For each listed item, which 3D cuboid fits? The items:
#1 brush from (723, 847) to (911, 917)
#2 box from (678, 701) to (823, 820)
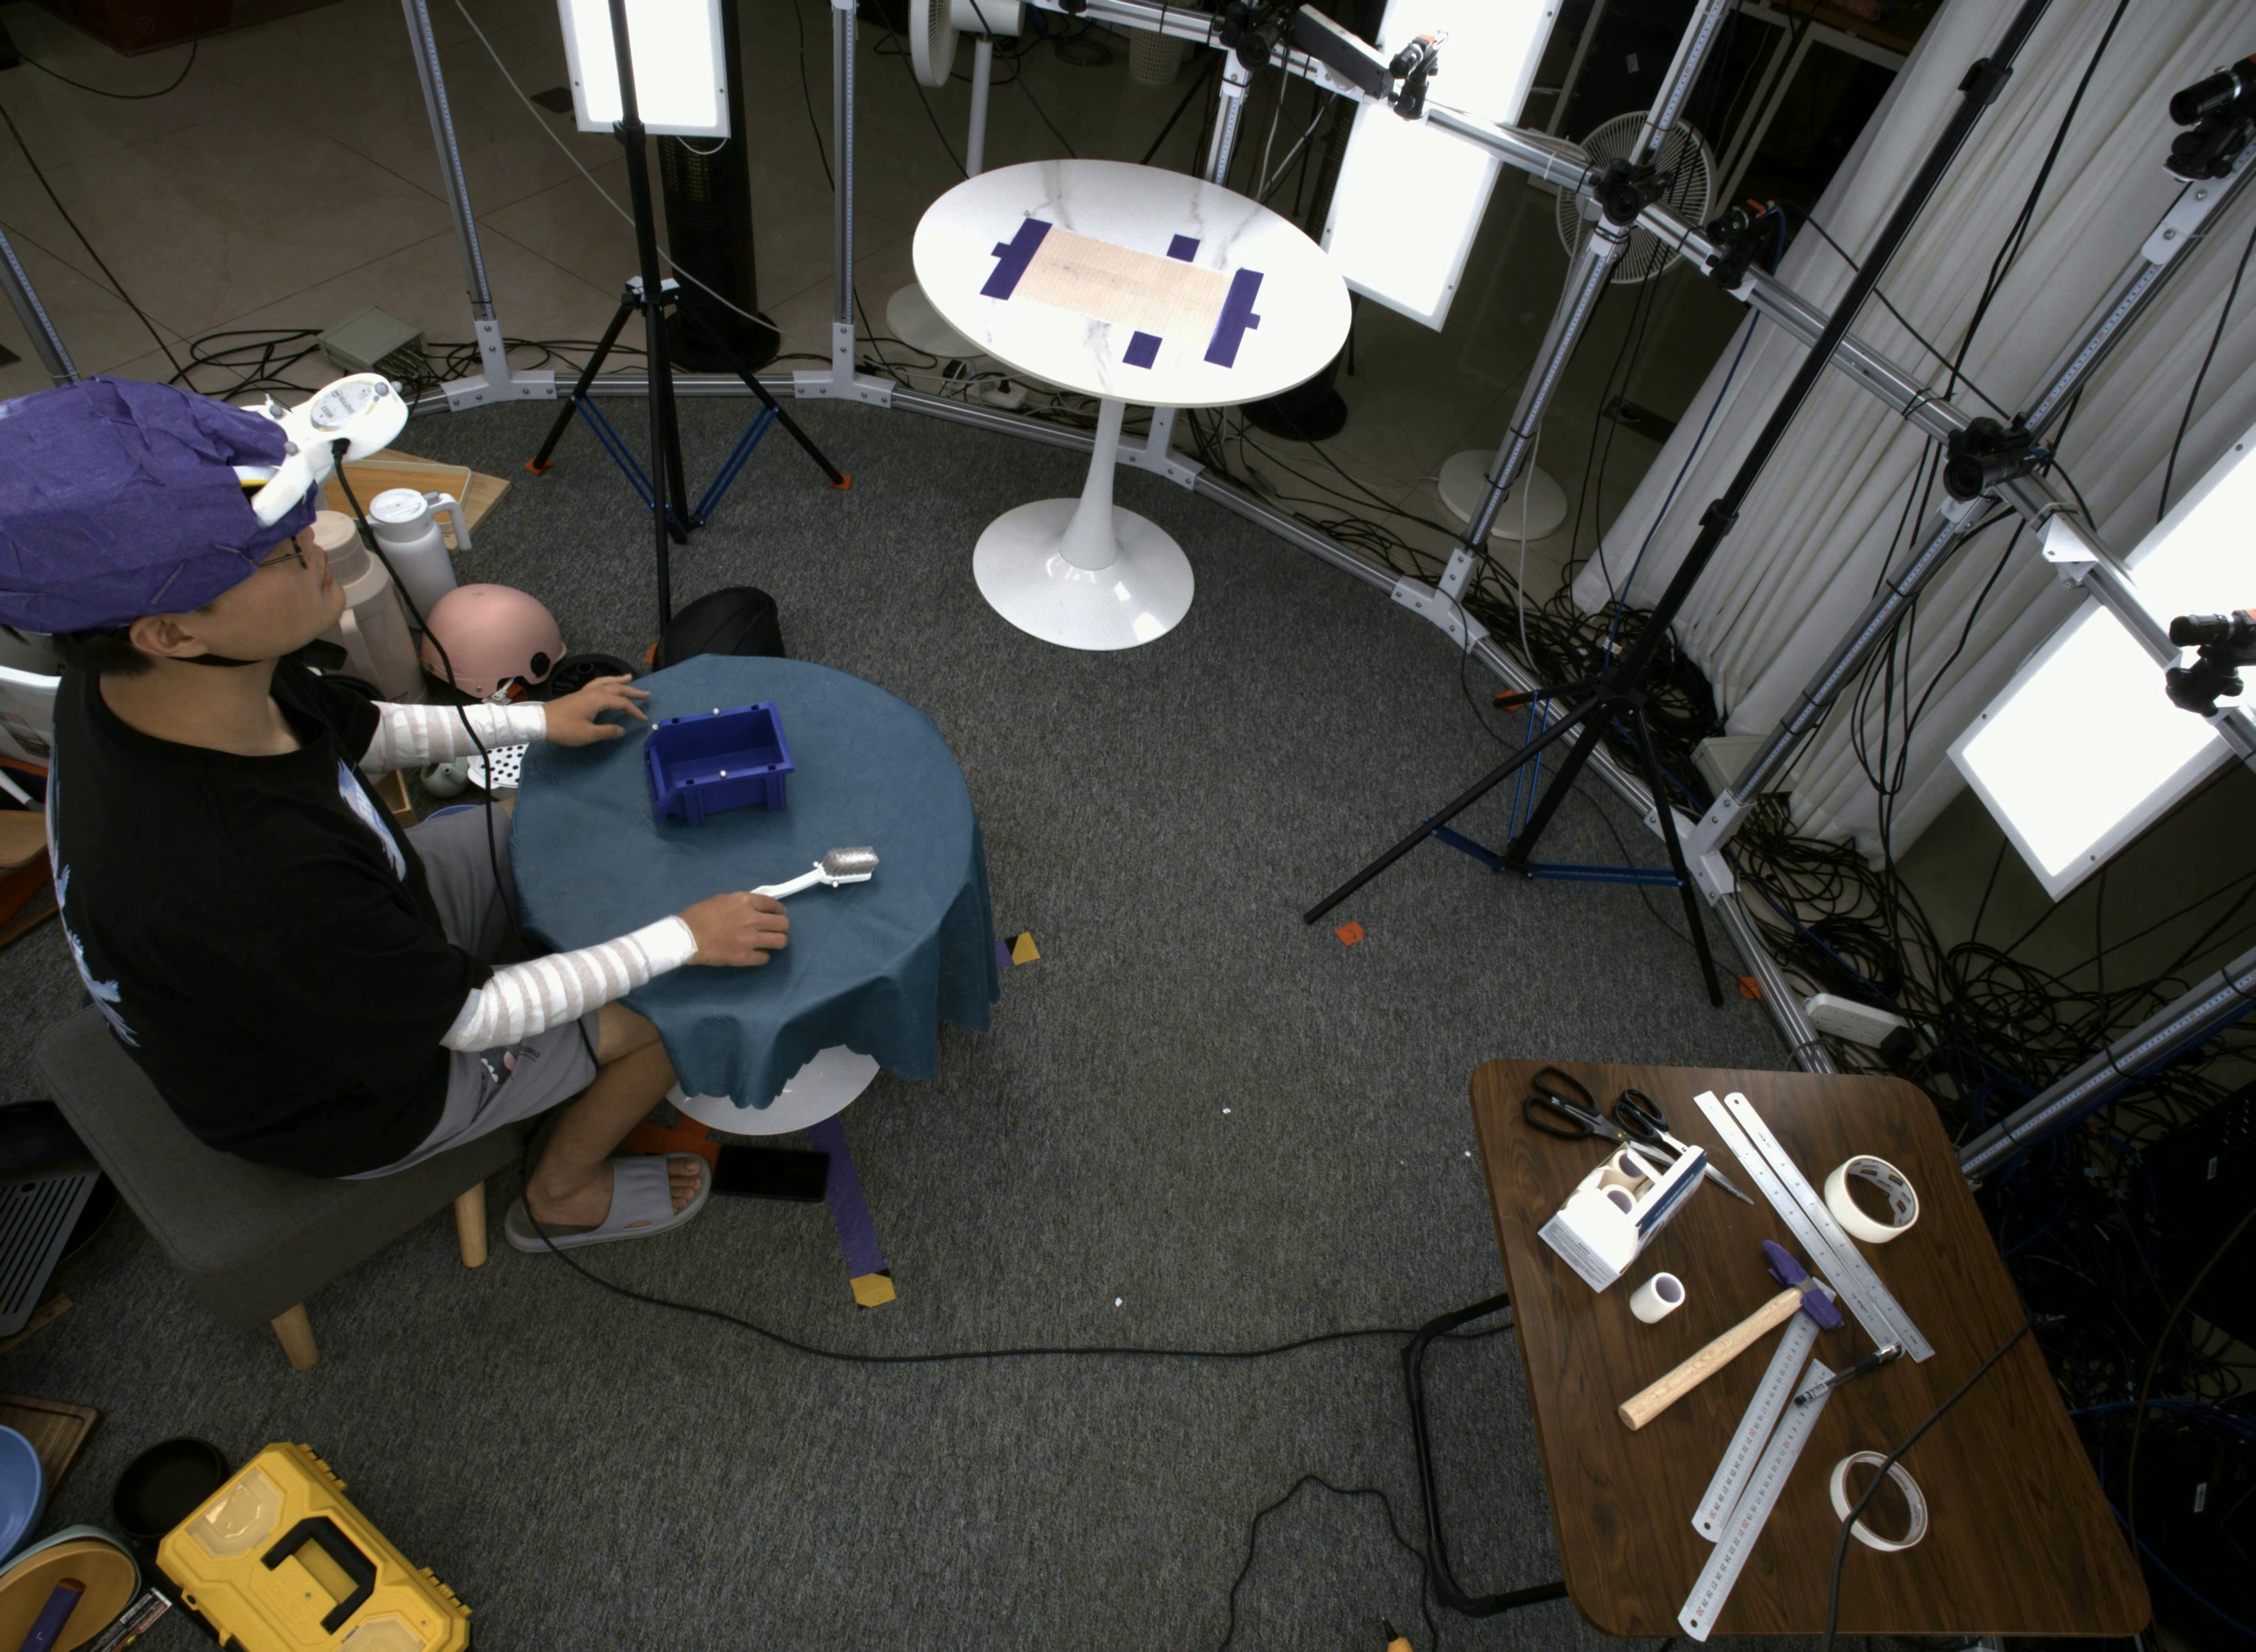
[{"bbox_3d":[-0.397,0.067,1.659,0.245,0.051,0.033,-13,55,-23],"label":"brush"},{"bbox_3d":[-0.506,-0.085,1.725,0.180,0.083,0.121,-8,56,-20],"label":"box"}]
